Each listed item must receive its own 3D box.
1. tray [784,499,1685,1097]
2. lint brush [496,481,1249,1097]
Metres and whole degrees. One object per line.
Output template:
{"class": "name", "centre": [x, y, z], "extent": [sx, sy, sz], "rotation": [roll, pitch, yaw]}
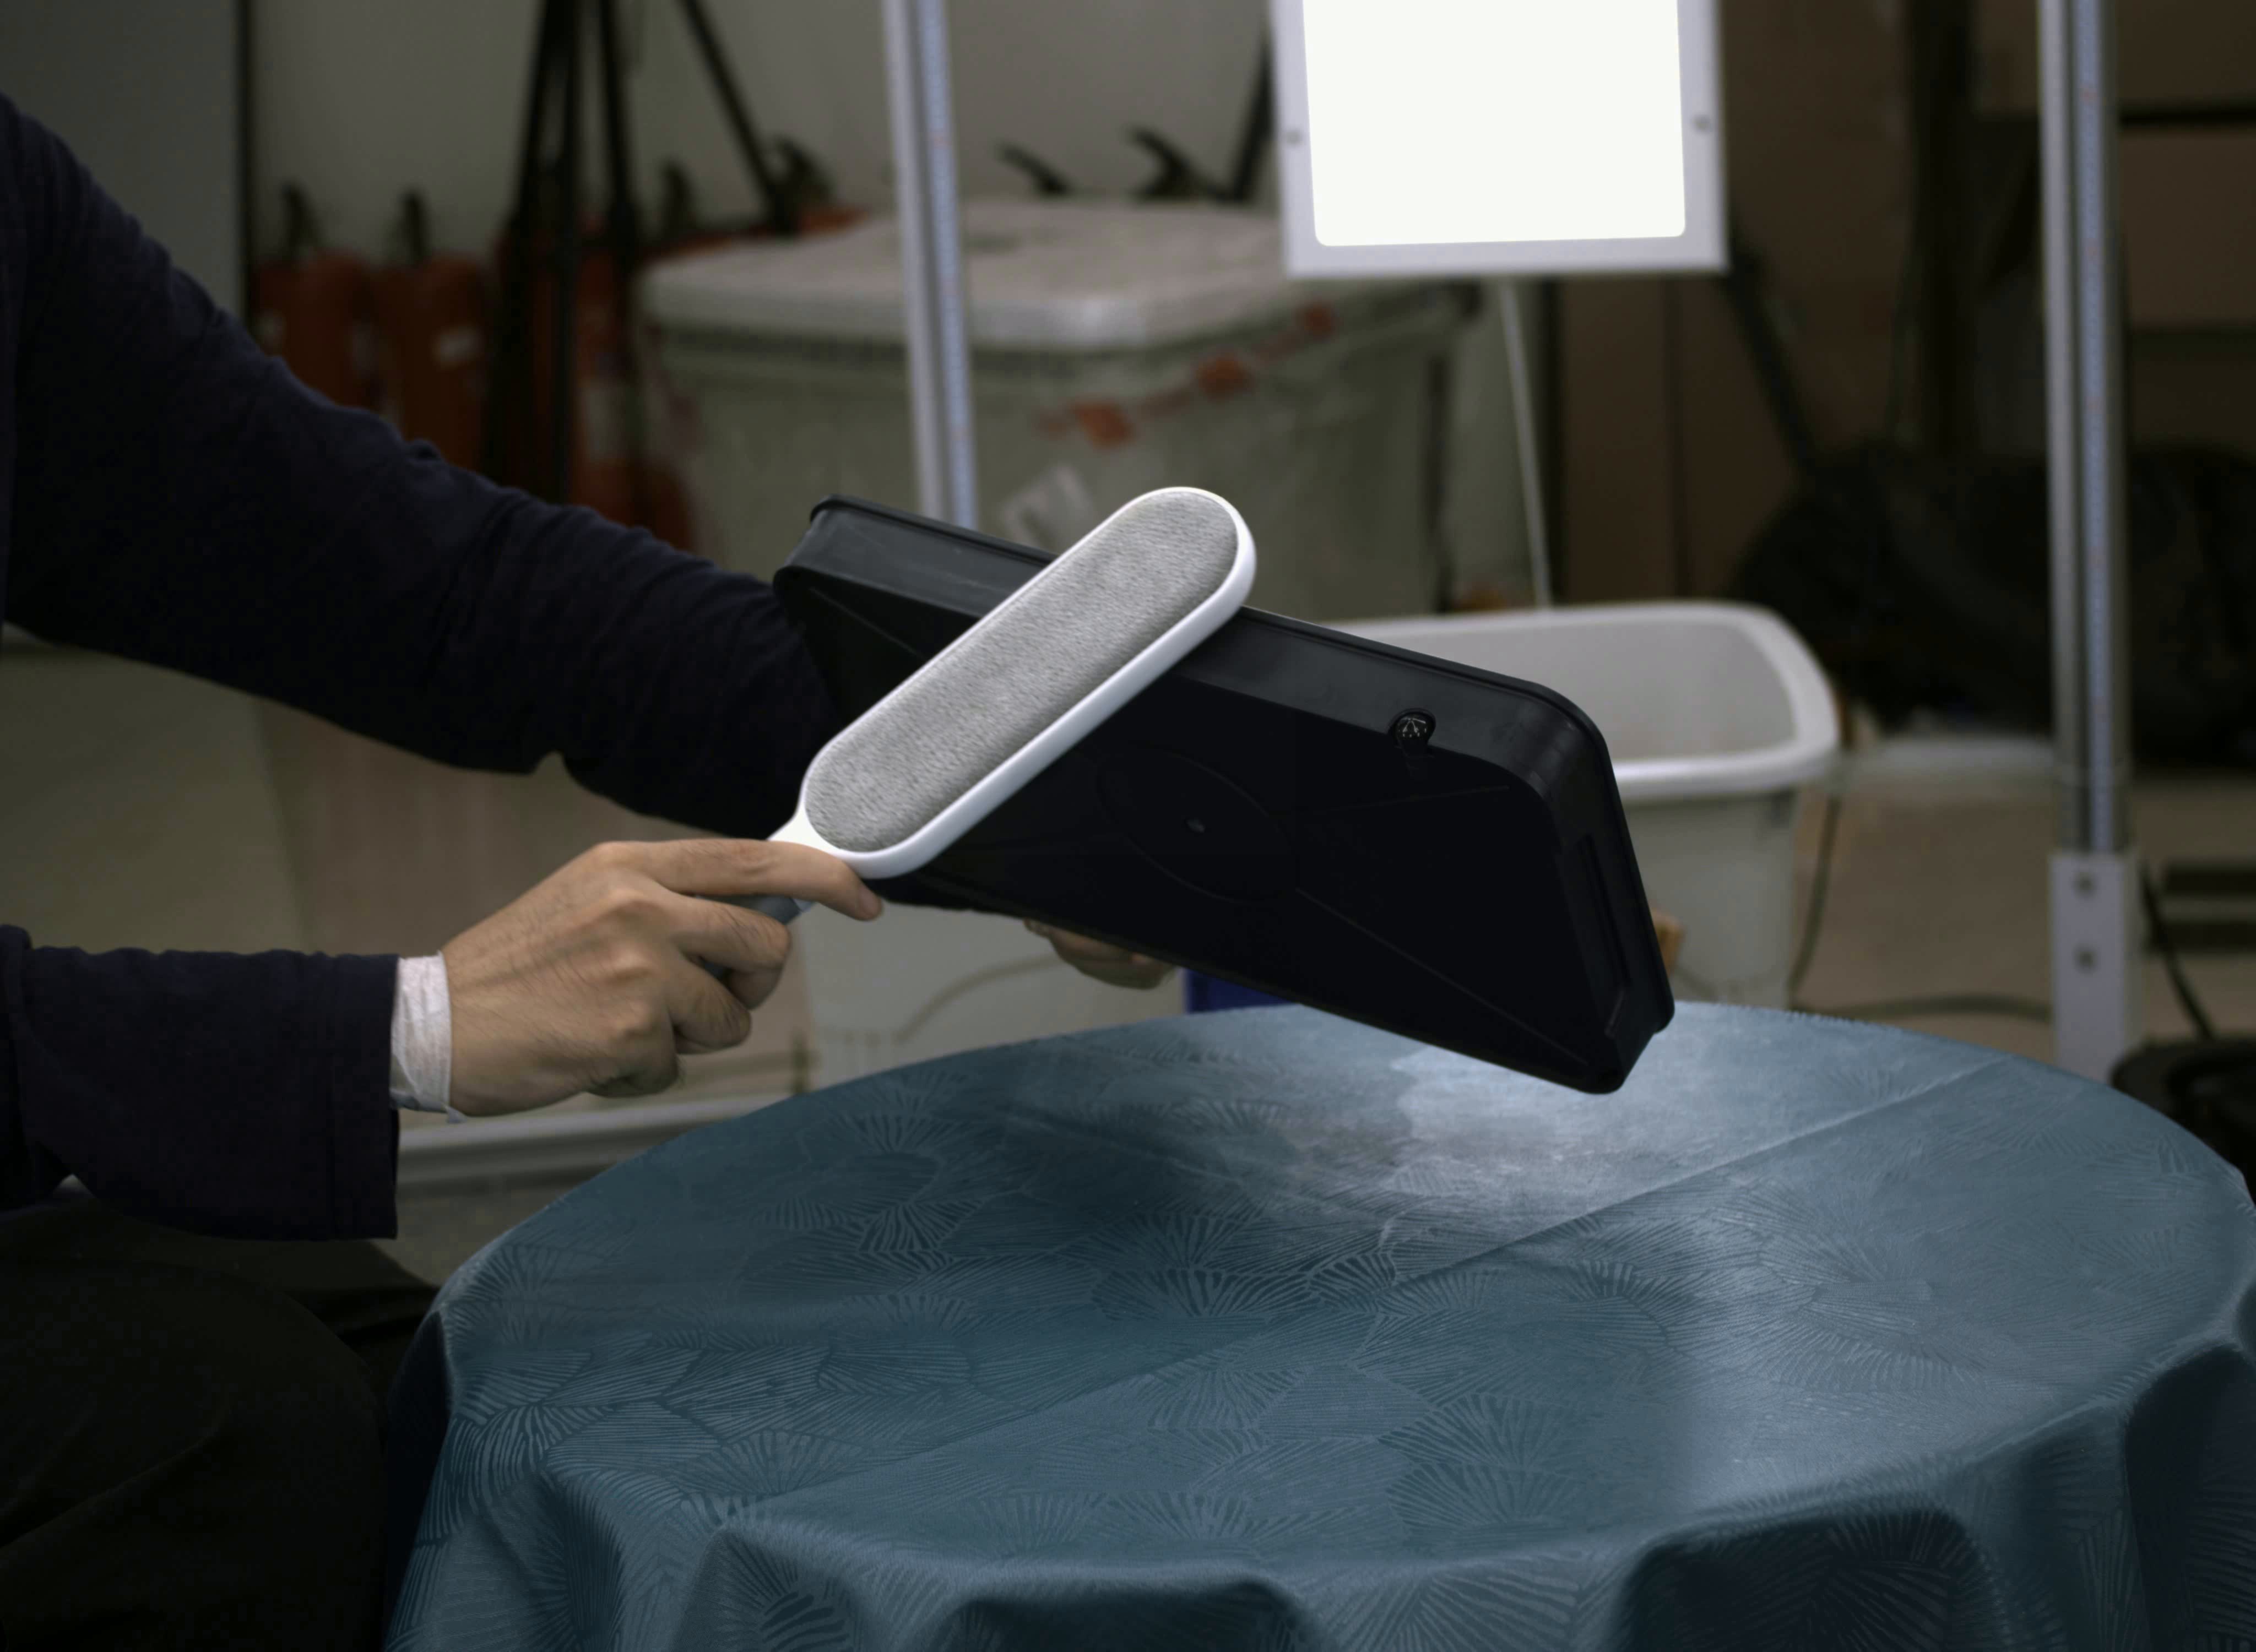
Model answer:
{"class": "tray", "centre": [0.035, -0.010, 1.906], "extent": [0.323, 0.183, 0.036], "rotation": [16, 56, 32]}
{"class": "lint brush", "centre": [-0.086, -0.012, 1.829], "extent": [0.308, 0.021, 0.061], "rotation": [-38, 59, -3]}
